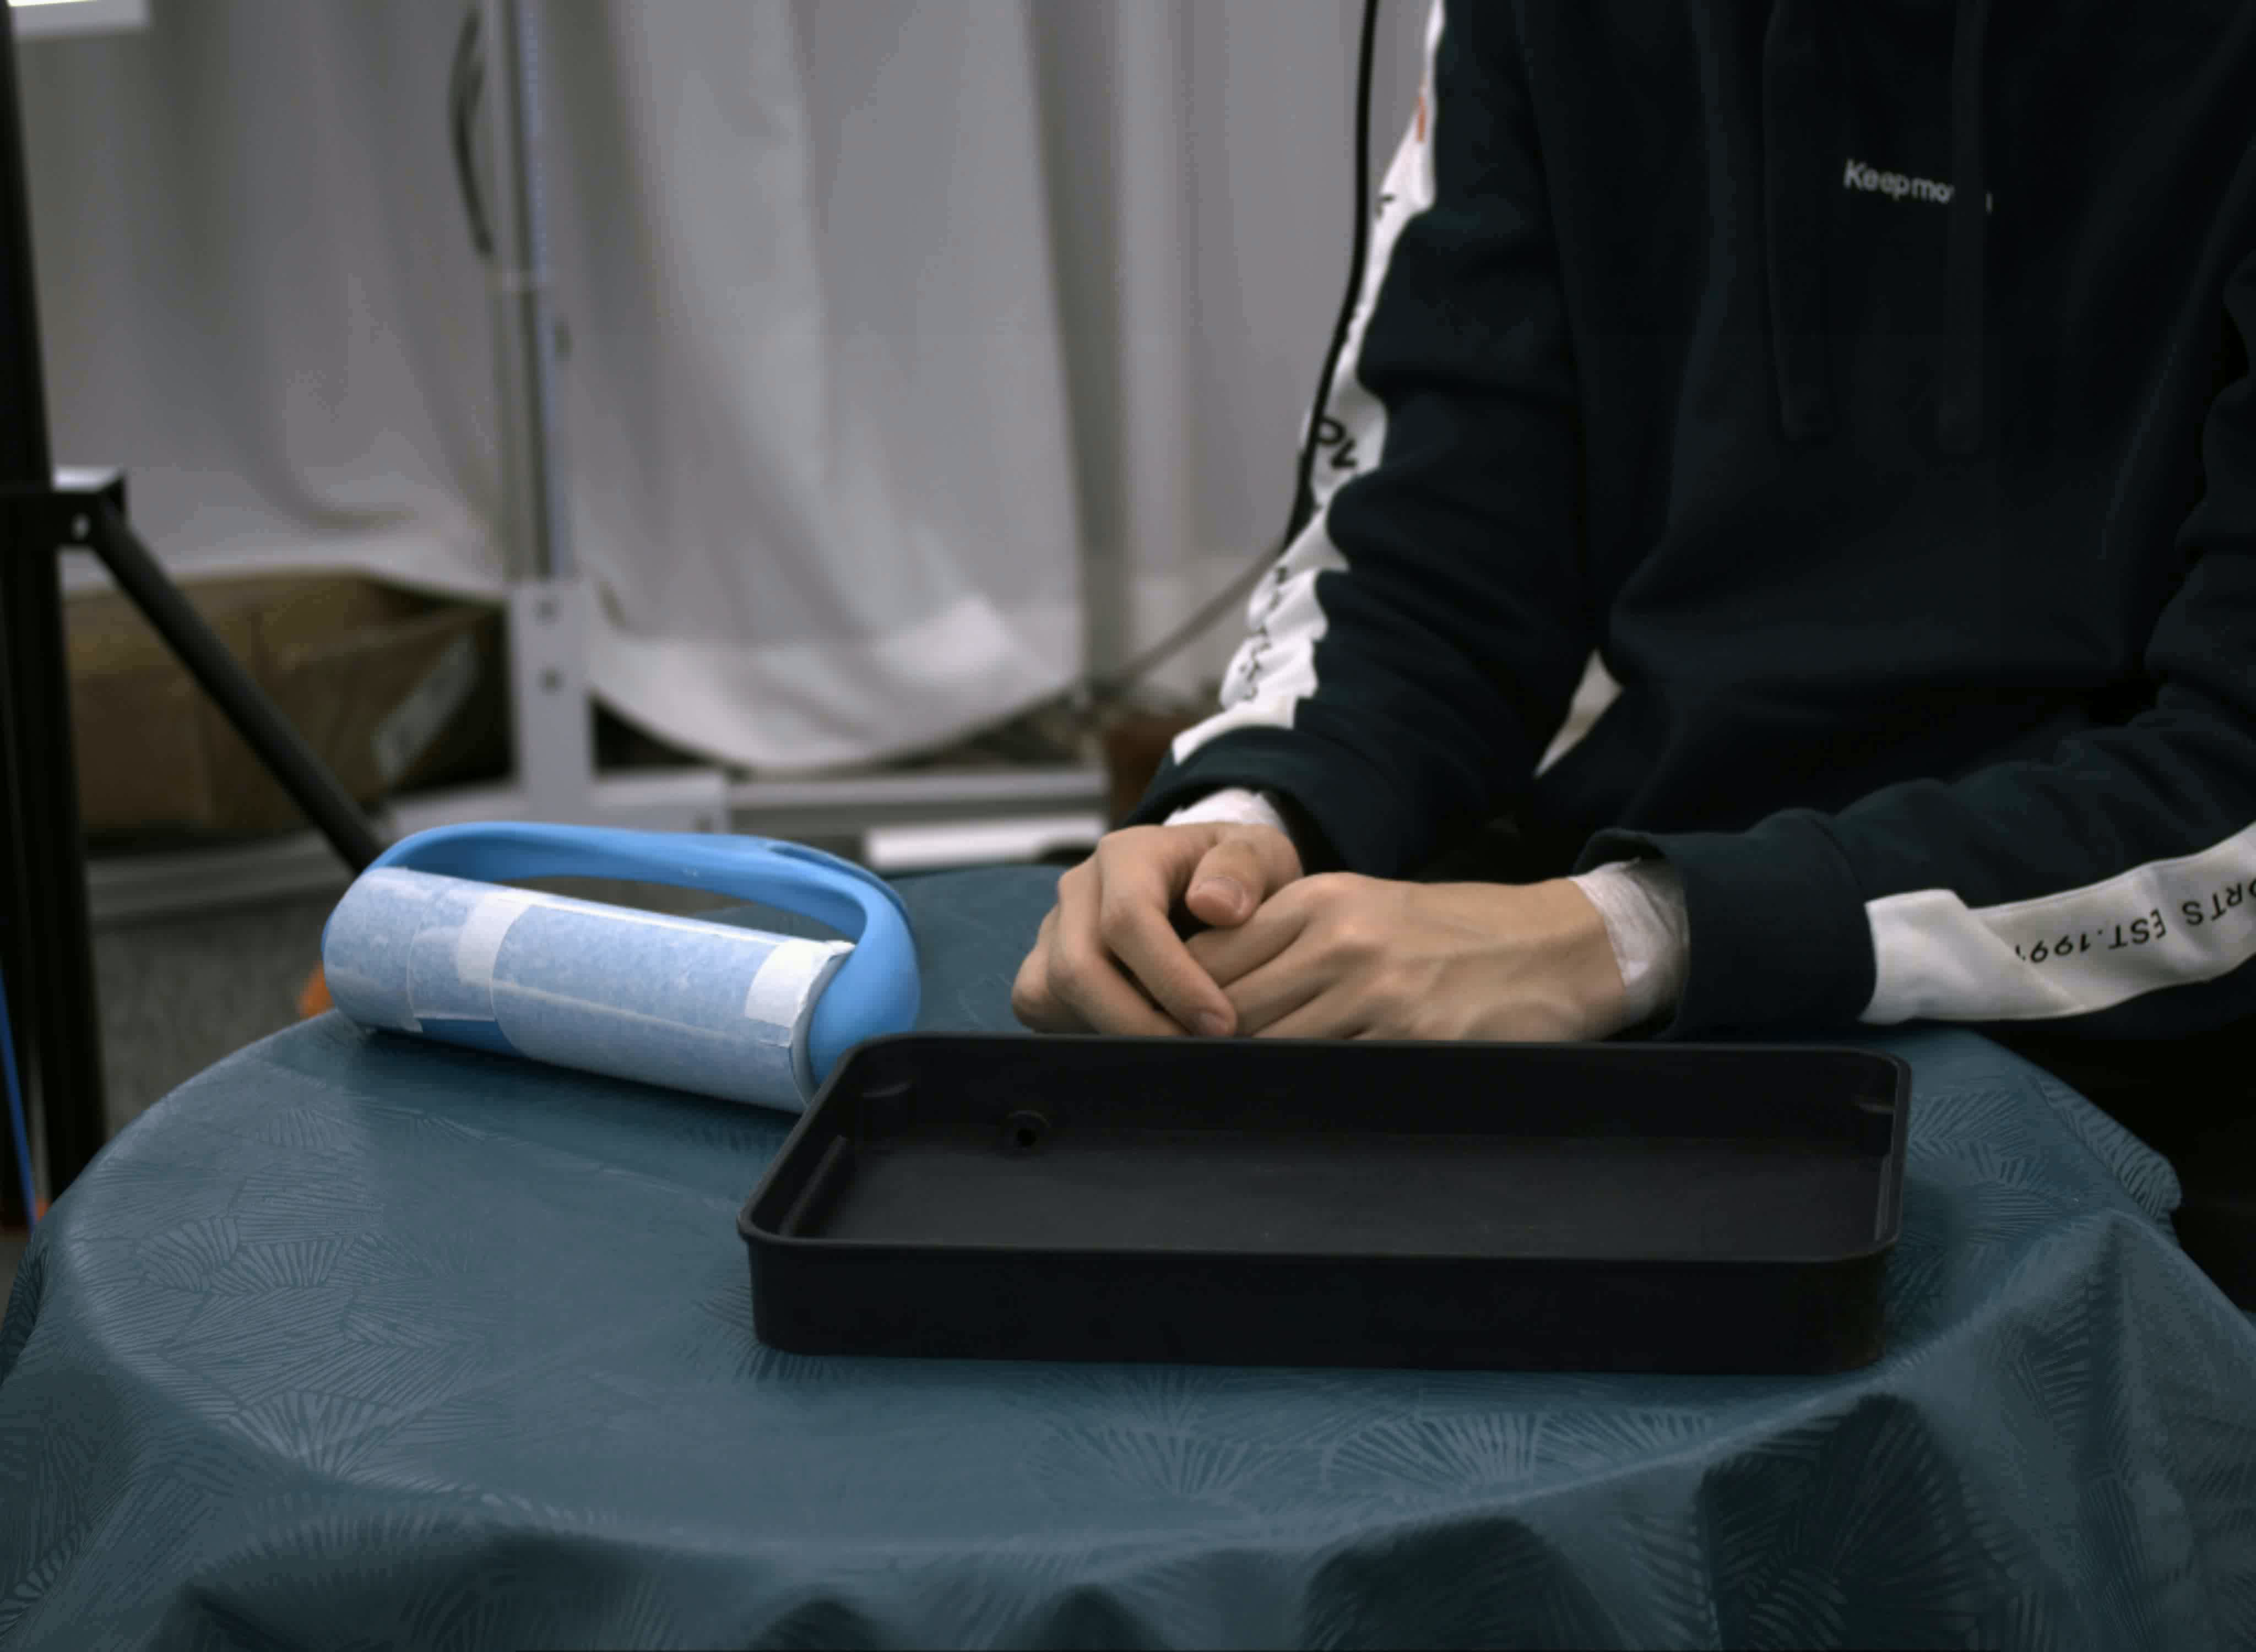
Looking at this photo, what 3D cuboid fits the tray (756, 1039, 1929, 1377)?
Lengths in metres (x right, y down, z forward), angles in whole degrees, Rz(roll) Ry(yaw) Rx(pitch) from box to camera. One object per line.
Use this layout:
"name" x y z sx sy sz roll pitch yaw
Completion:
"tray" 0.066 0.106 1.493 0.319 0.037 0.183 -1 16 10

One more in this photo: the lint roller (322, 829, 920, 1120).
"lint roller" -0.133 0.035 1.731 0.233 0.068 0.177 6 19 34
